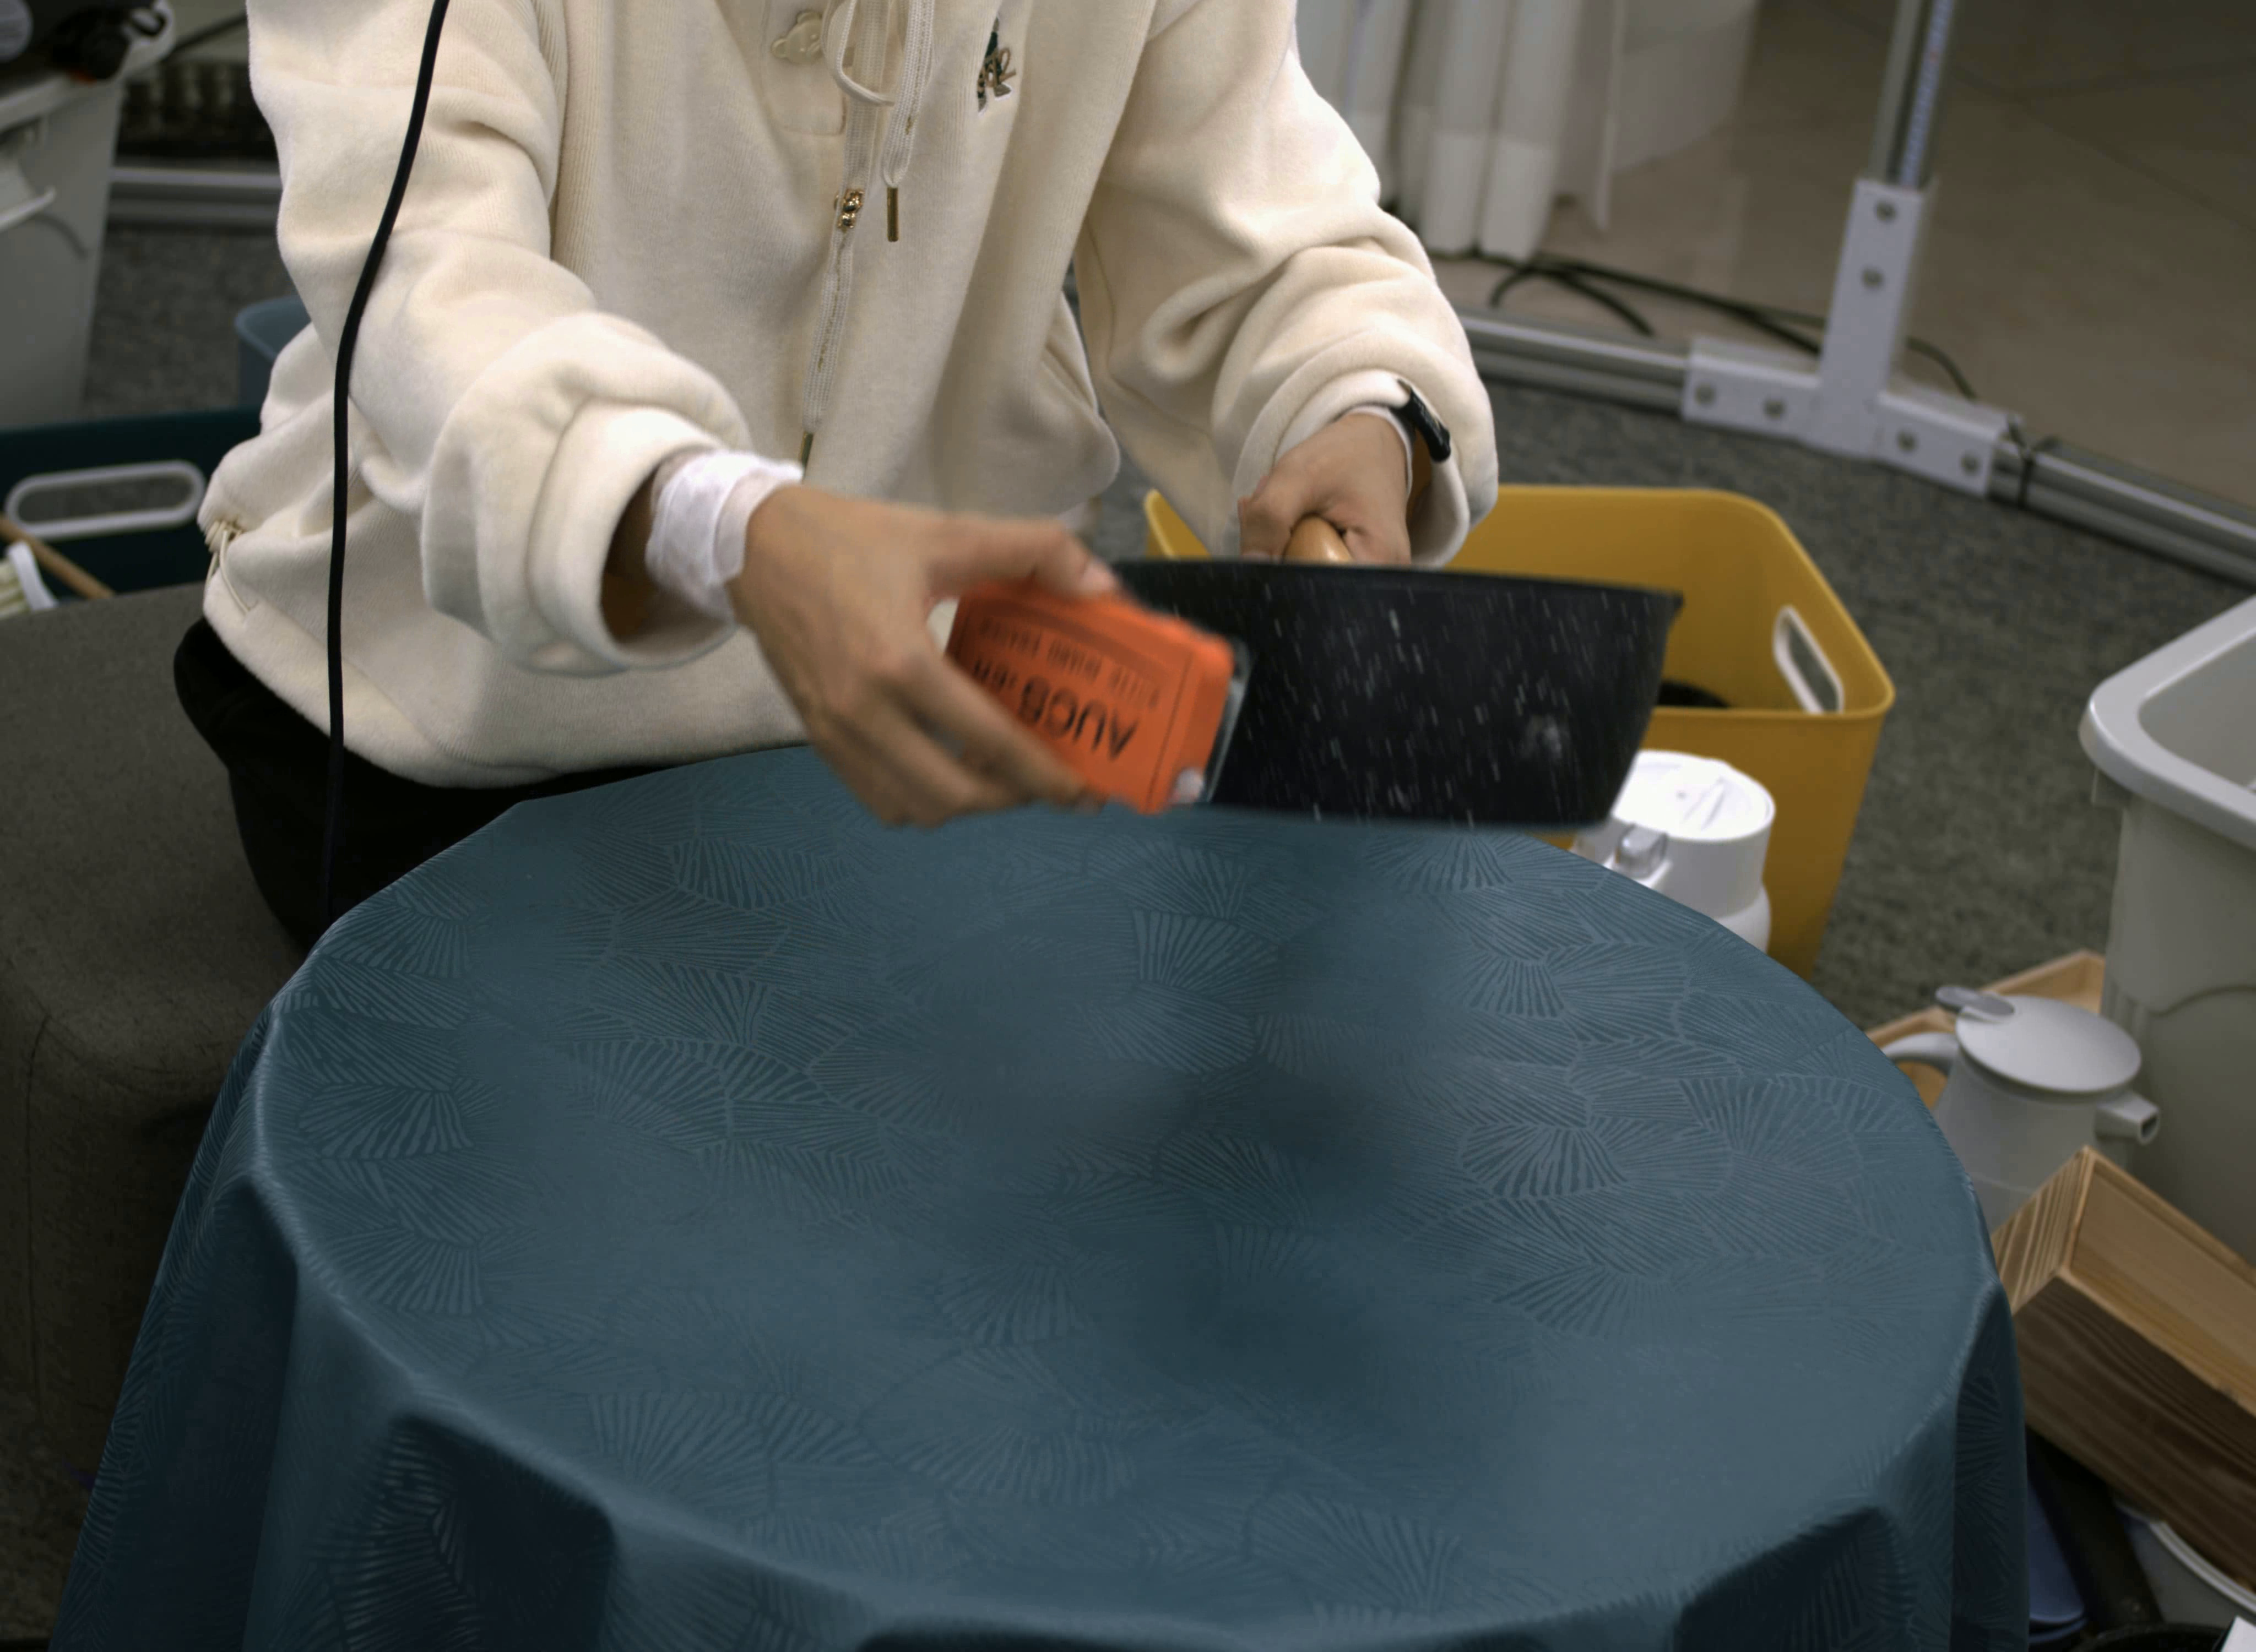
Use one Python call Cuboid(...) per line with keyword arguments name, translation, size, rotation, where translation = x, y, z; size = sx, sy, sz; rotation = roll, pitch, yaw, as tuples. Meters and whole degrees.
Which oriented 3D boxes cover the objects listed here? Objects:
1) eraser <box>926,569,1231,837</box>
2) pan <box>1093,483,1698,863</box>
Cuboid(name="eraser", translation=(-0.017, -0.040, 1.690), size=(0.022, 0.059, 0.109), rotation=(5, 16, -47))
Cuboid(name="pan", translation=(0.079, -0.058, 1.883), size=(0.206, 0.108, 0.344), rotation=(2, 6, -9))
